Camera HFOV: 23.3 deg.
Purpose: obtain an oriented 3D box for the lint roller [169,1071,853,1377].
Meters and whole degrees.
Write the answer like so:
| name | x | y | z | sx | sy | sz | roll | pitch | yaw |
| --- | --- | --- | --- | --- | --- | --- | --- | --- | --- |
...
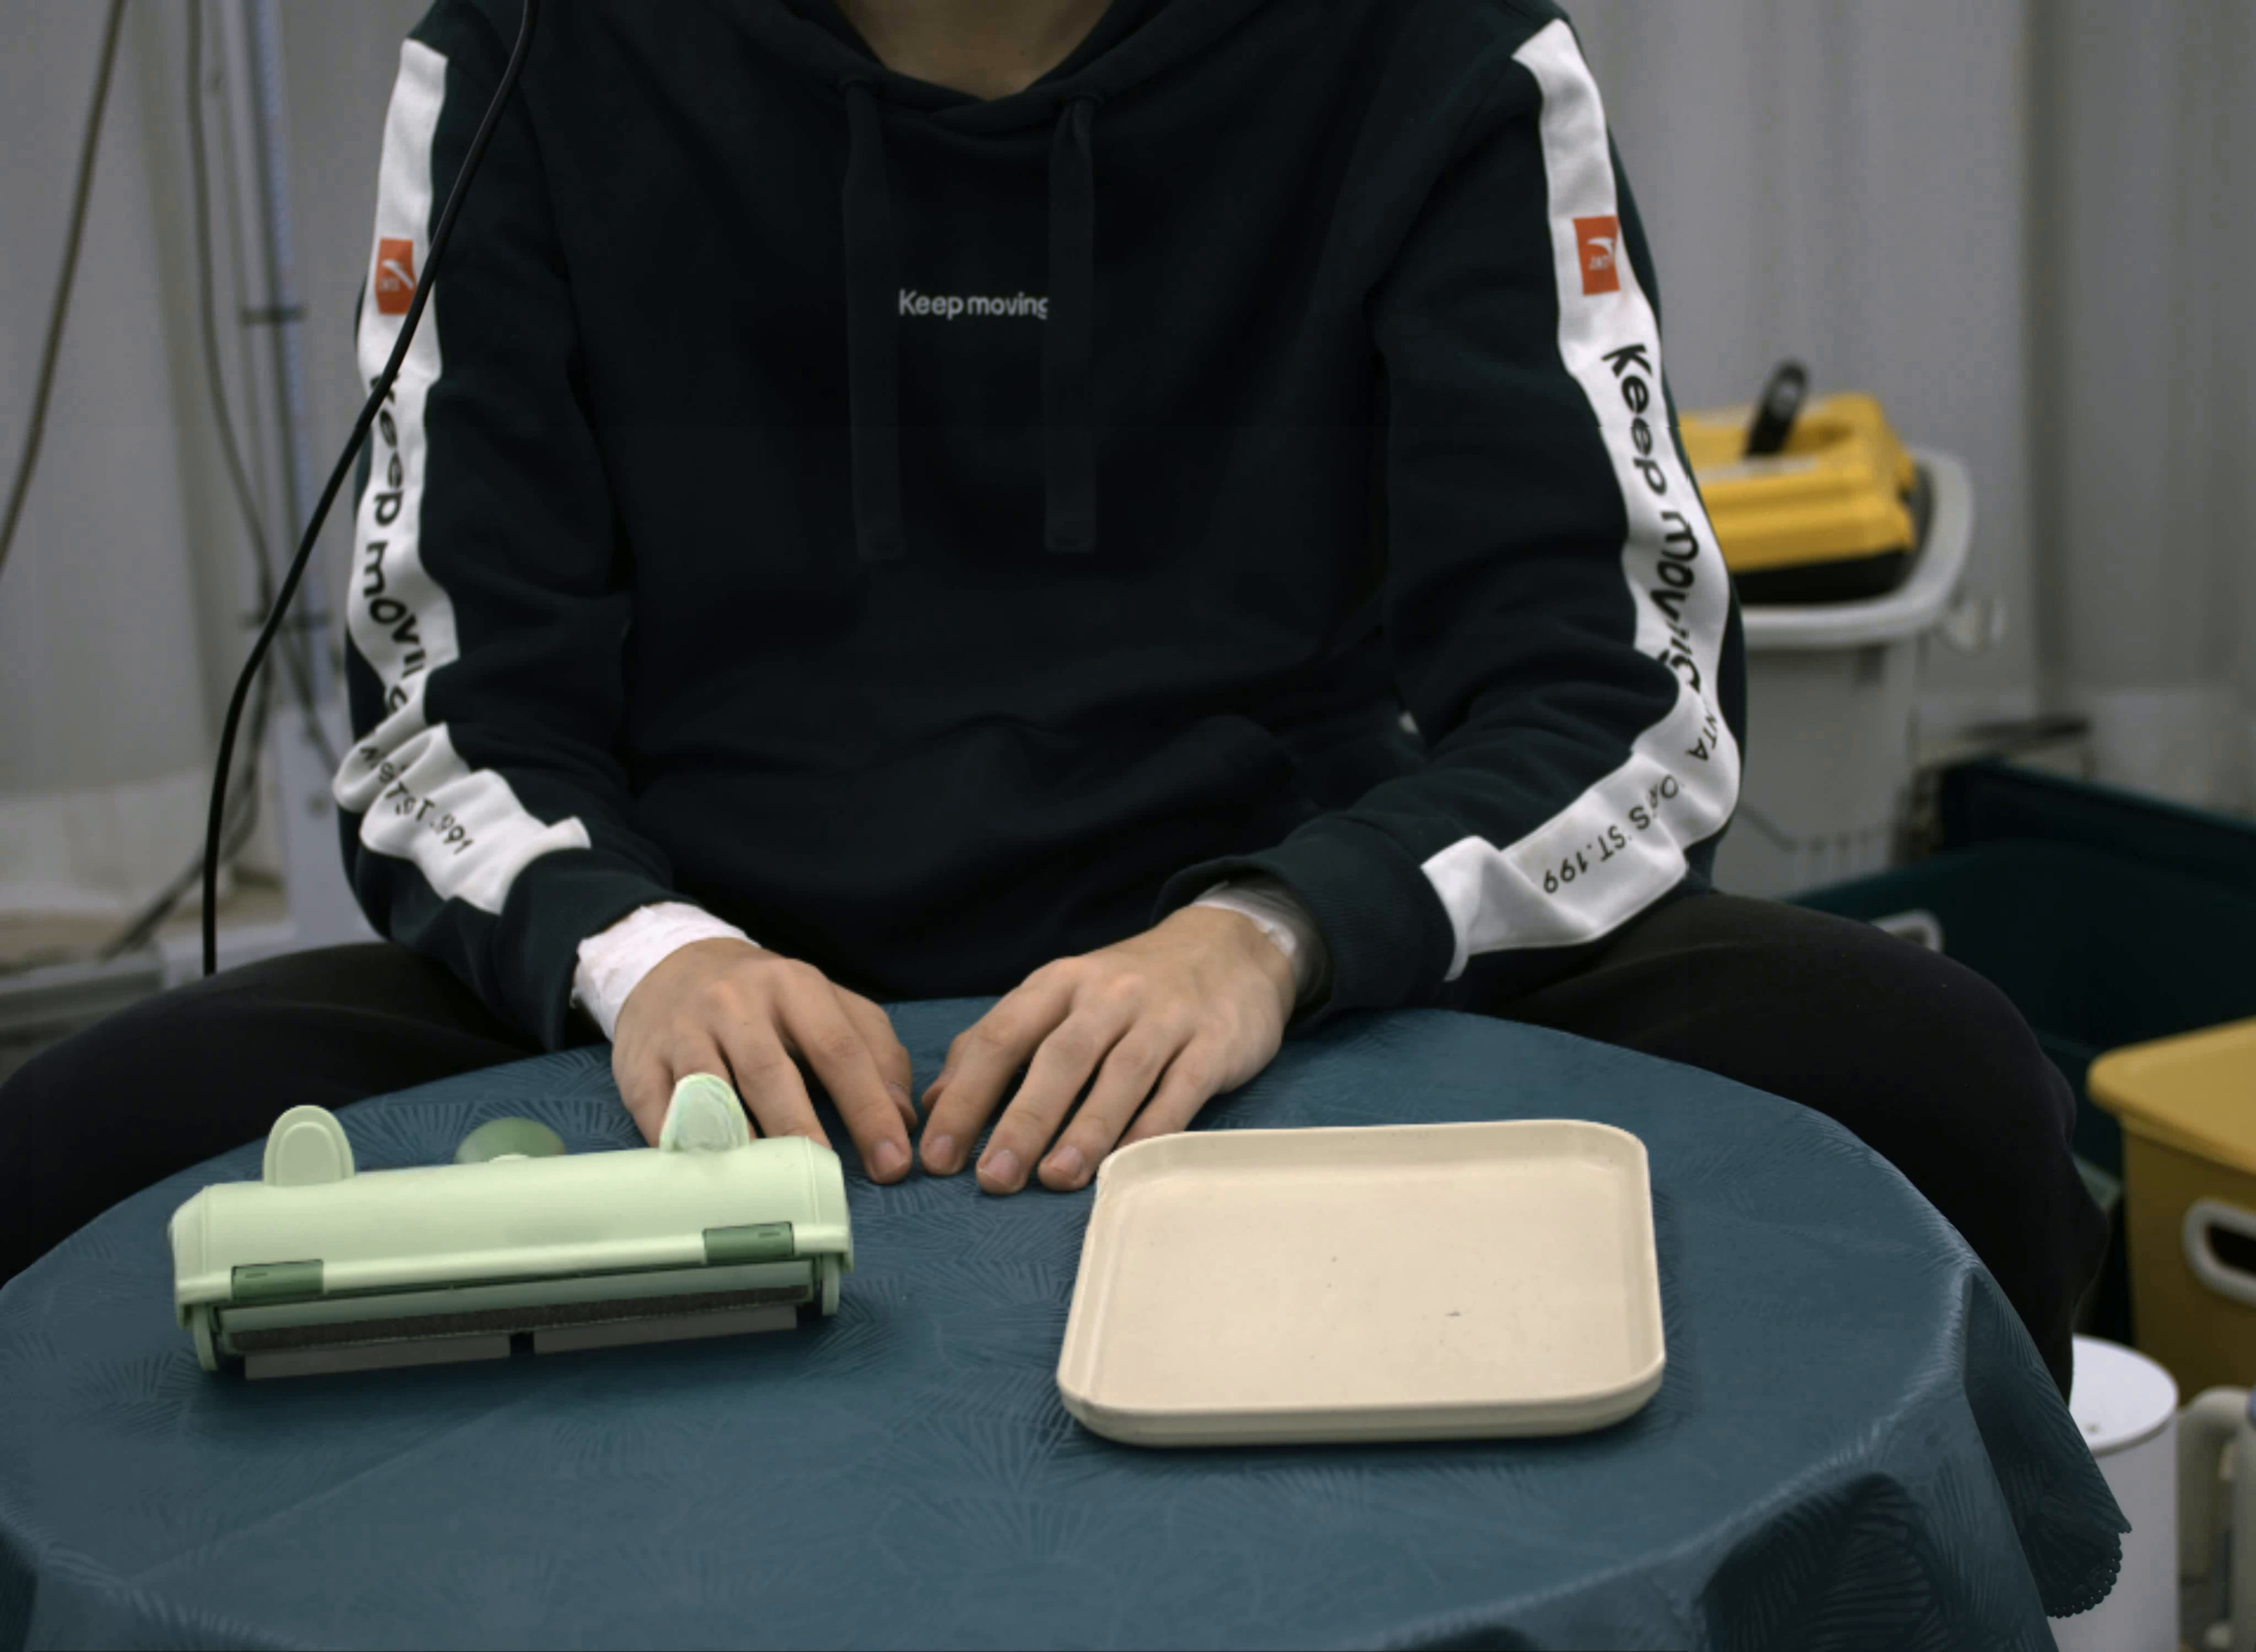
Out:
| name | x | y | z | sx | sy | sz | roll | pitch | yaw |
| --- | --- | --- | --- | --- | --- | --- | --- | --- | --- |
| lint roller | -0.187 | 0.101 | 1.654 | 0.198 | 0.082 | 0.185 | -5 | 19 | -6 |

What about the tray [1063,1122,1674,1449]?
| name | x | y | z | sx | sy | sz | roll | pitch | yaw |
| --- | --- | --- | --- | --- | --- | --- | --- | --- | --- |
| tray | 0.070 | 0.133 | 1.596 | 0.171 | 0.017 | 0.241 | -1 | 15 | 4 |
